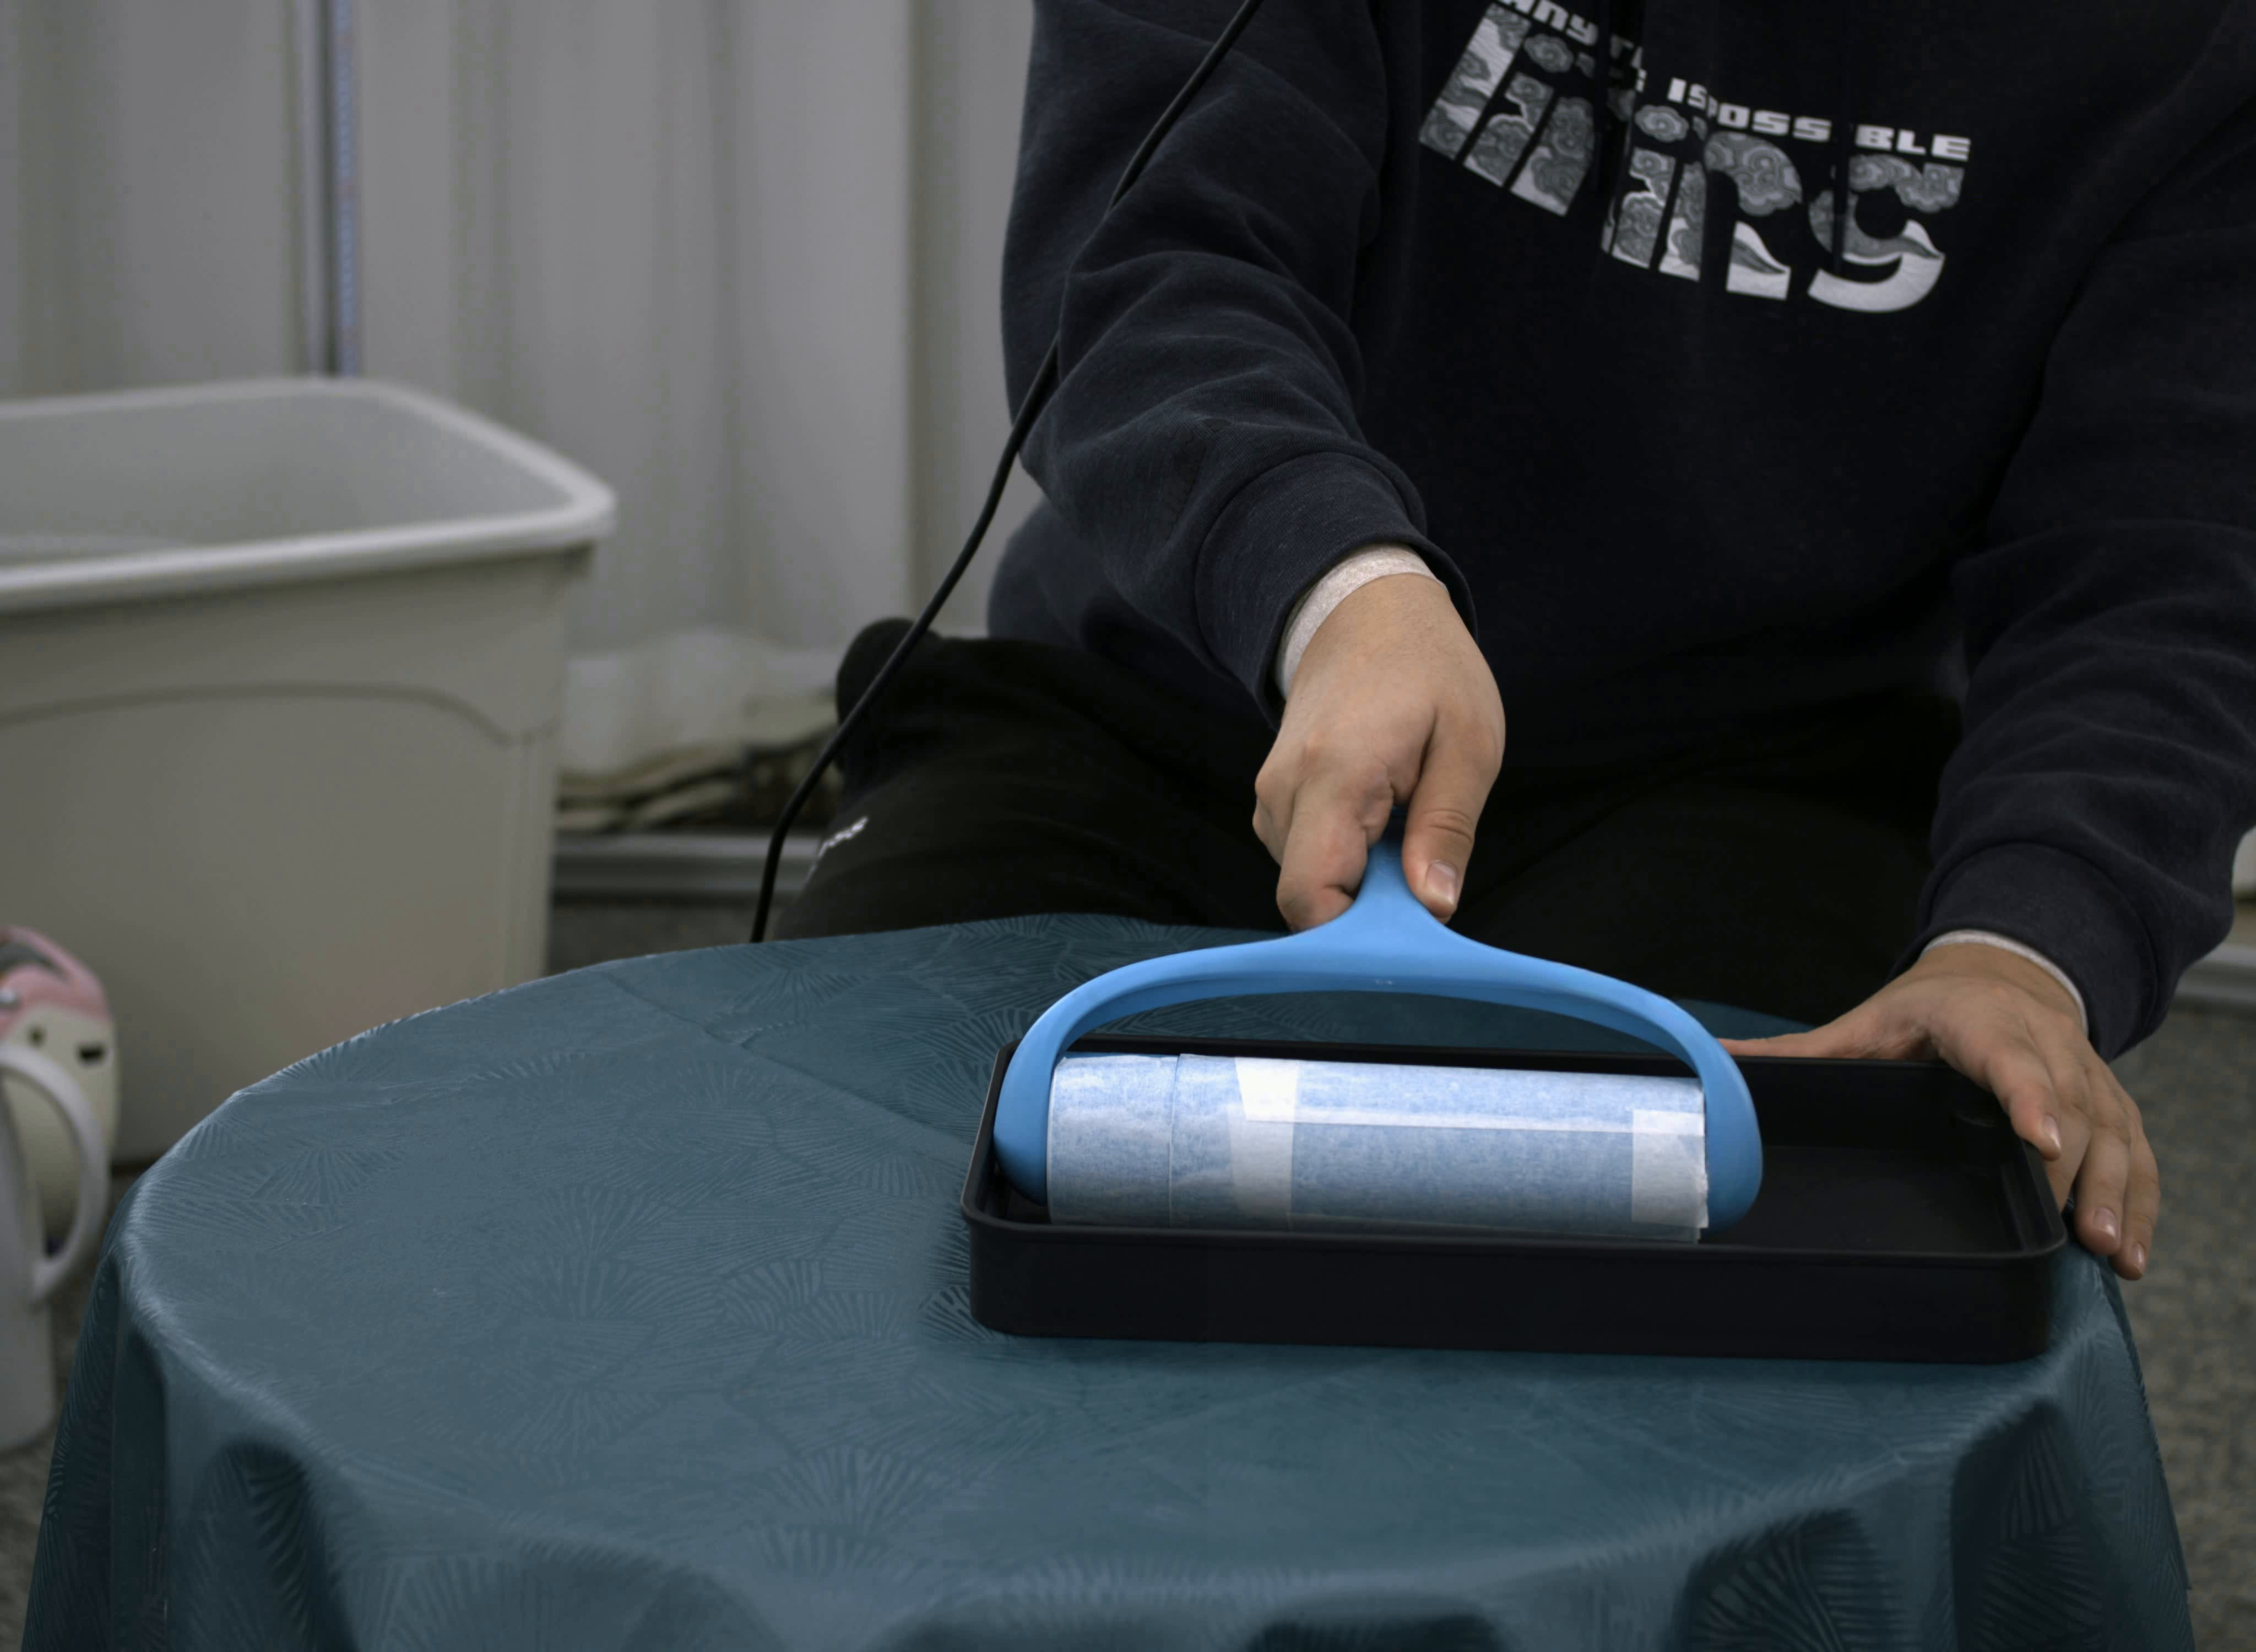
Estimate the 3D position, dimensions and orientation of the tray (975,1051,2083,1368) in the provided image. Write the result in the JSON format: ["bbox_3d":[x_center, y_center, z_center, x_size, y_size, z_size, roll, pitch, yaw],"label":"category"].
[{"bbox_3d":[0.117,0.113,1.578,0.317,0.037,0.183,-1,15,2],"label":"tray"}]

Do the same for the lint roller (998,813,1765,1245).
[{"bbox_3d":[0.078,0.050,1.602,0.228,0.069,0.179,0,52,4],"label":"lint roller"}]
